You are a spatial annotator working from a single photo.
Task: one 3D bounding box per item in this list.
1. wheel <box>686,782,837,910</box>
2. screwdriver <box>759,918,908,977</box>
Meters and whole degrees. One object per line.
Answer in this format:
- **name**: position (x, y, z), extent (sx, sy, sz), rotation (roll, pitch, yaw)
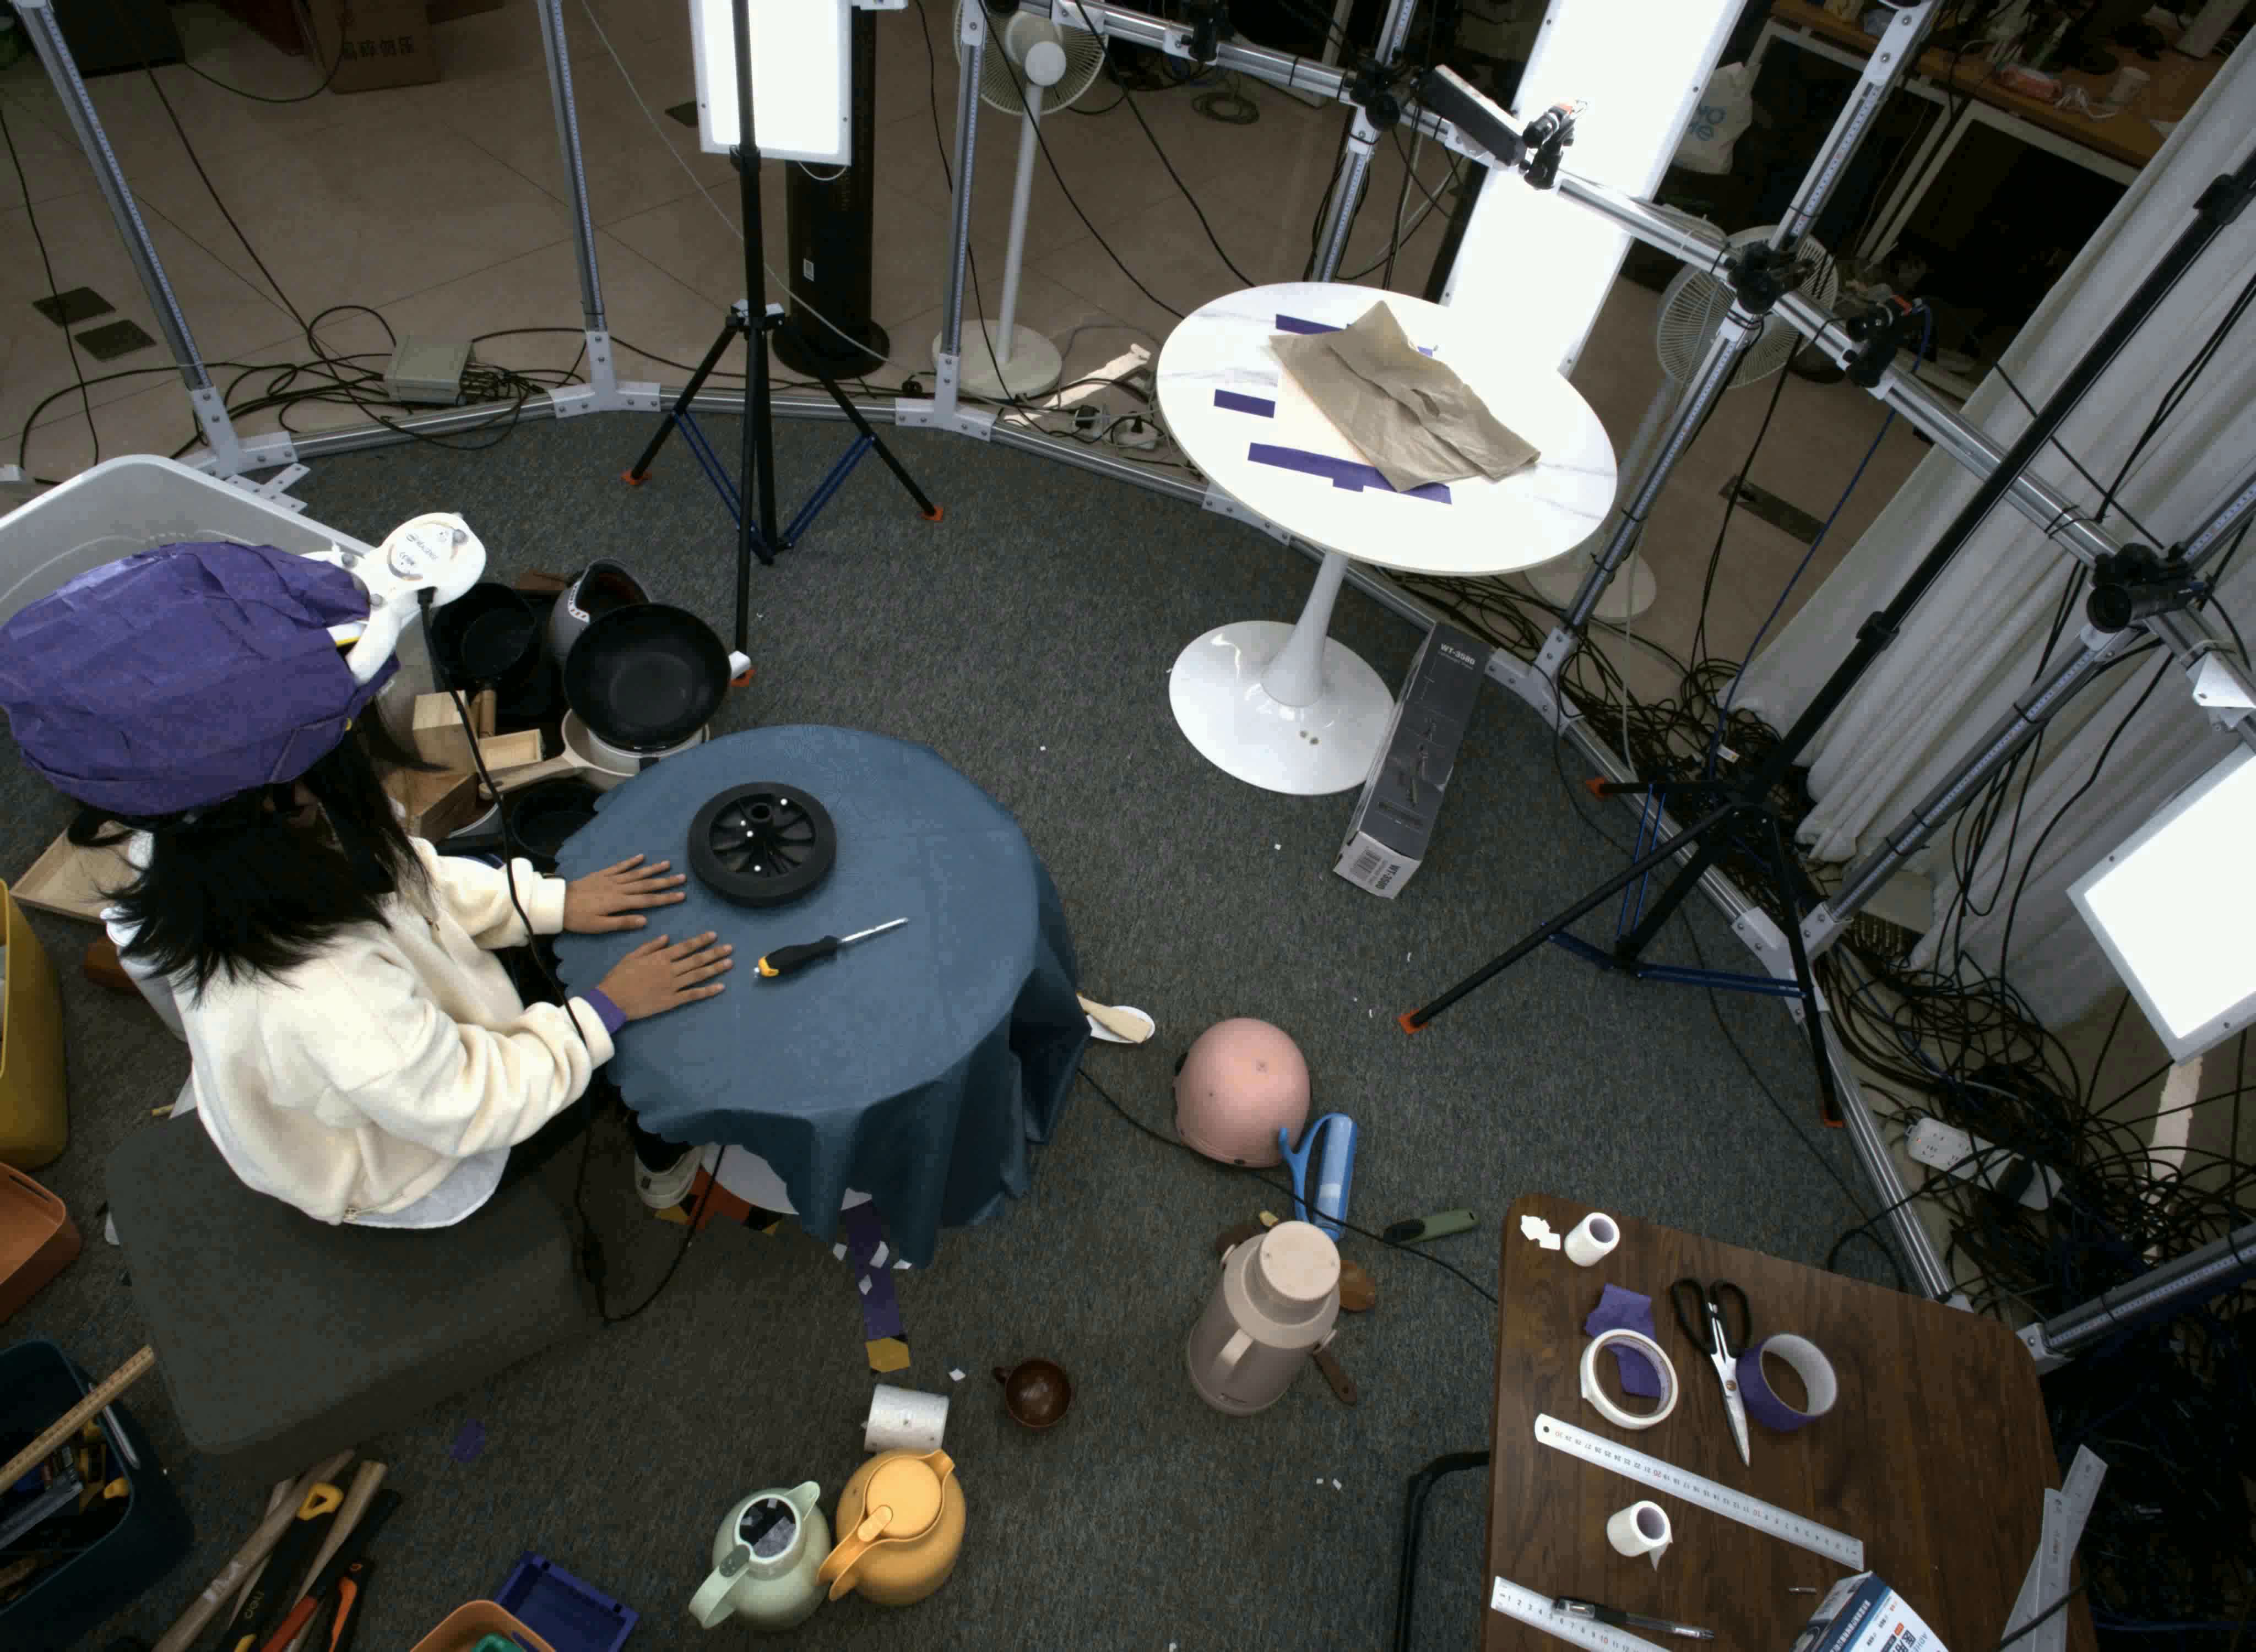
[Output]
- **wheel**: position (-0.468, 0.010, 1.652), extent (0.187, 0.080, 0.187), rotation (32, 53, 6)
- **screwdriver**: position (-0.364, 0.141, 1.613), extent (0.197, 0.032, 0.030), rotation (-22, 60, -30)
